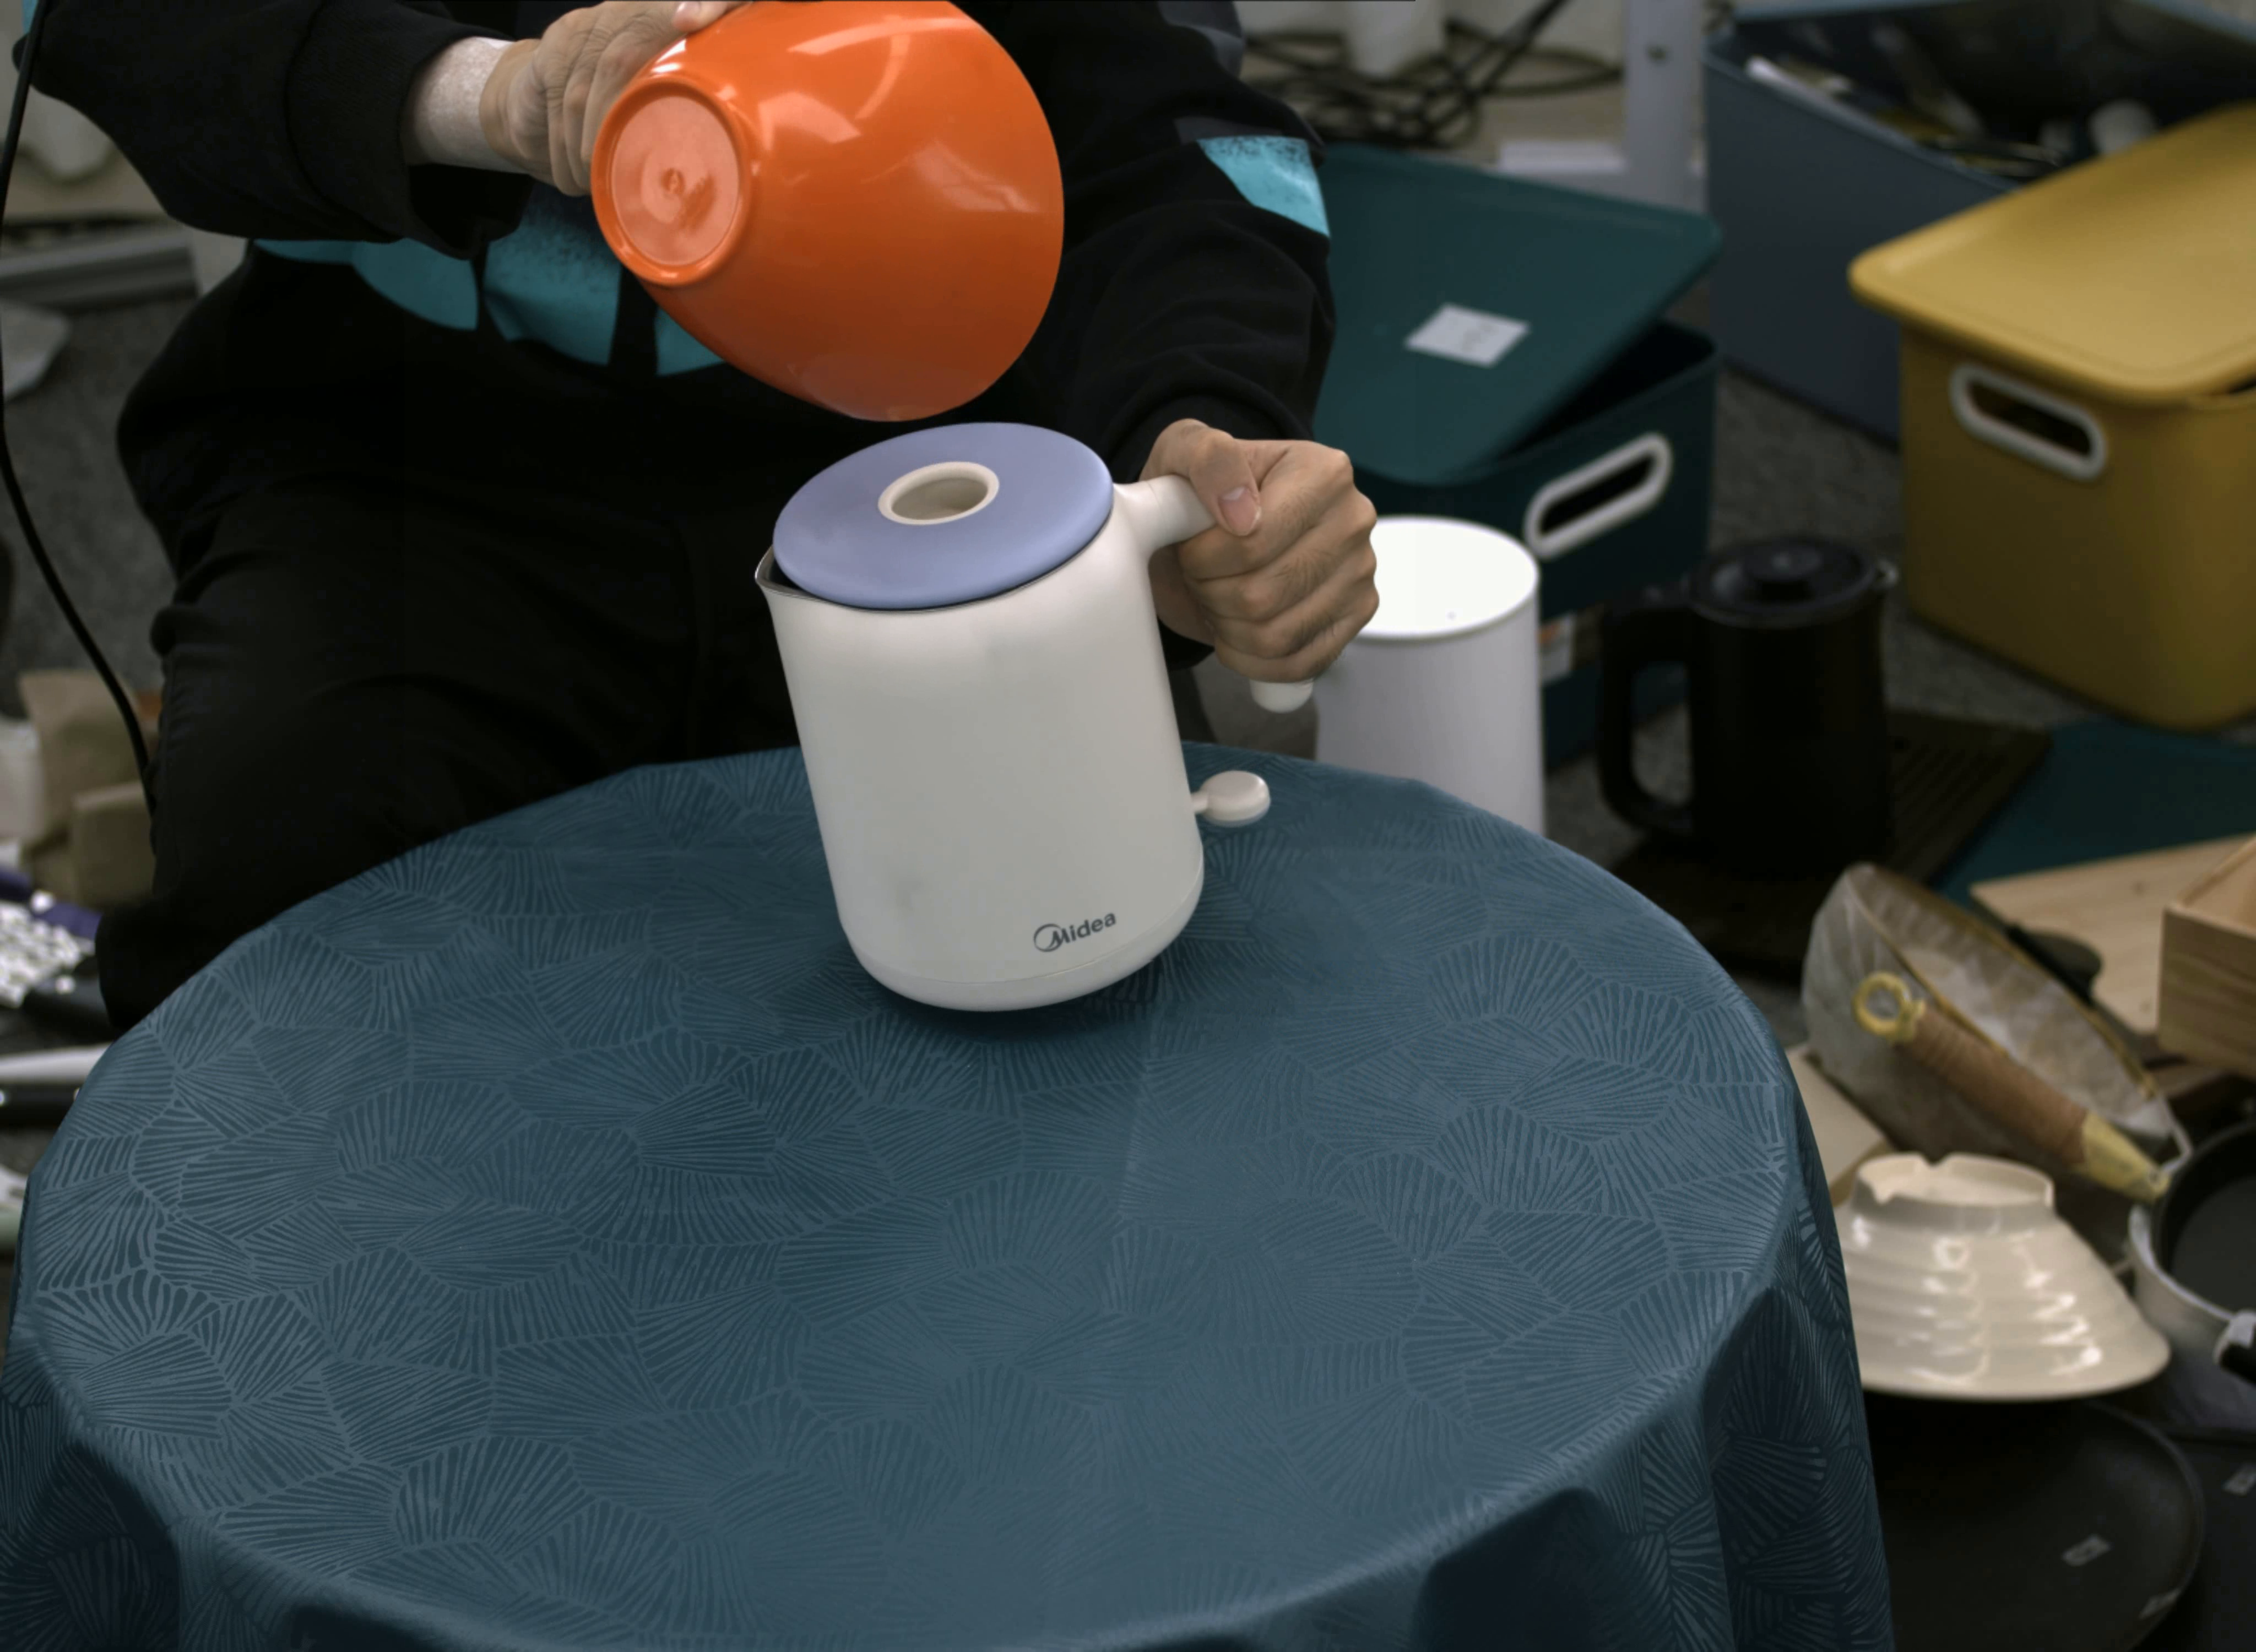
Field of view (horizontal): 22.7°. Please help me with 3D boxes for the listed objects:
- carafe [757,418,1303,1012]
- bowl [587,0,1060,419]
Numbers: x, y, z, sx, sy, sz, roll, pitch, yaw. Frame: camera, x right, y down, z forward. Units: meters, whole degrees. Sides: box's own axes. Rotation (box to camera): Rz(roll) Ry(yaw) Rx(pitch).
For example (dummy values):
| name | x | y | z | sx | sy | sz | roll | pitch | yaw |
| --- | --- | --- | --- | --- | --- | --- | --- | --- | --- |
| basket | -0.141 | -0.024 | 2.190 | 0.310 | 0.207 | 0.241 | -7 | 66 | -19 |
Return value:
| name | x | y | z | sx | sy | sz | roll | pitch | yaw |
| --- | --- | --- | --- | --- | --- | --- | --- | --- | --- |
| carafe | -0.028 | -0.046 | 1.963 | 0.191 | 0.180 | 0.133 | -17 | 32 | -16 |
| bowl | -0.110 | -0.204 | 1.826 | 0.147 | 0.147 | 0.105 | 17 | 14 | 34 |
